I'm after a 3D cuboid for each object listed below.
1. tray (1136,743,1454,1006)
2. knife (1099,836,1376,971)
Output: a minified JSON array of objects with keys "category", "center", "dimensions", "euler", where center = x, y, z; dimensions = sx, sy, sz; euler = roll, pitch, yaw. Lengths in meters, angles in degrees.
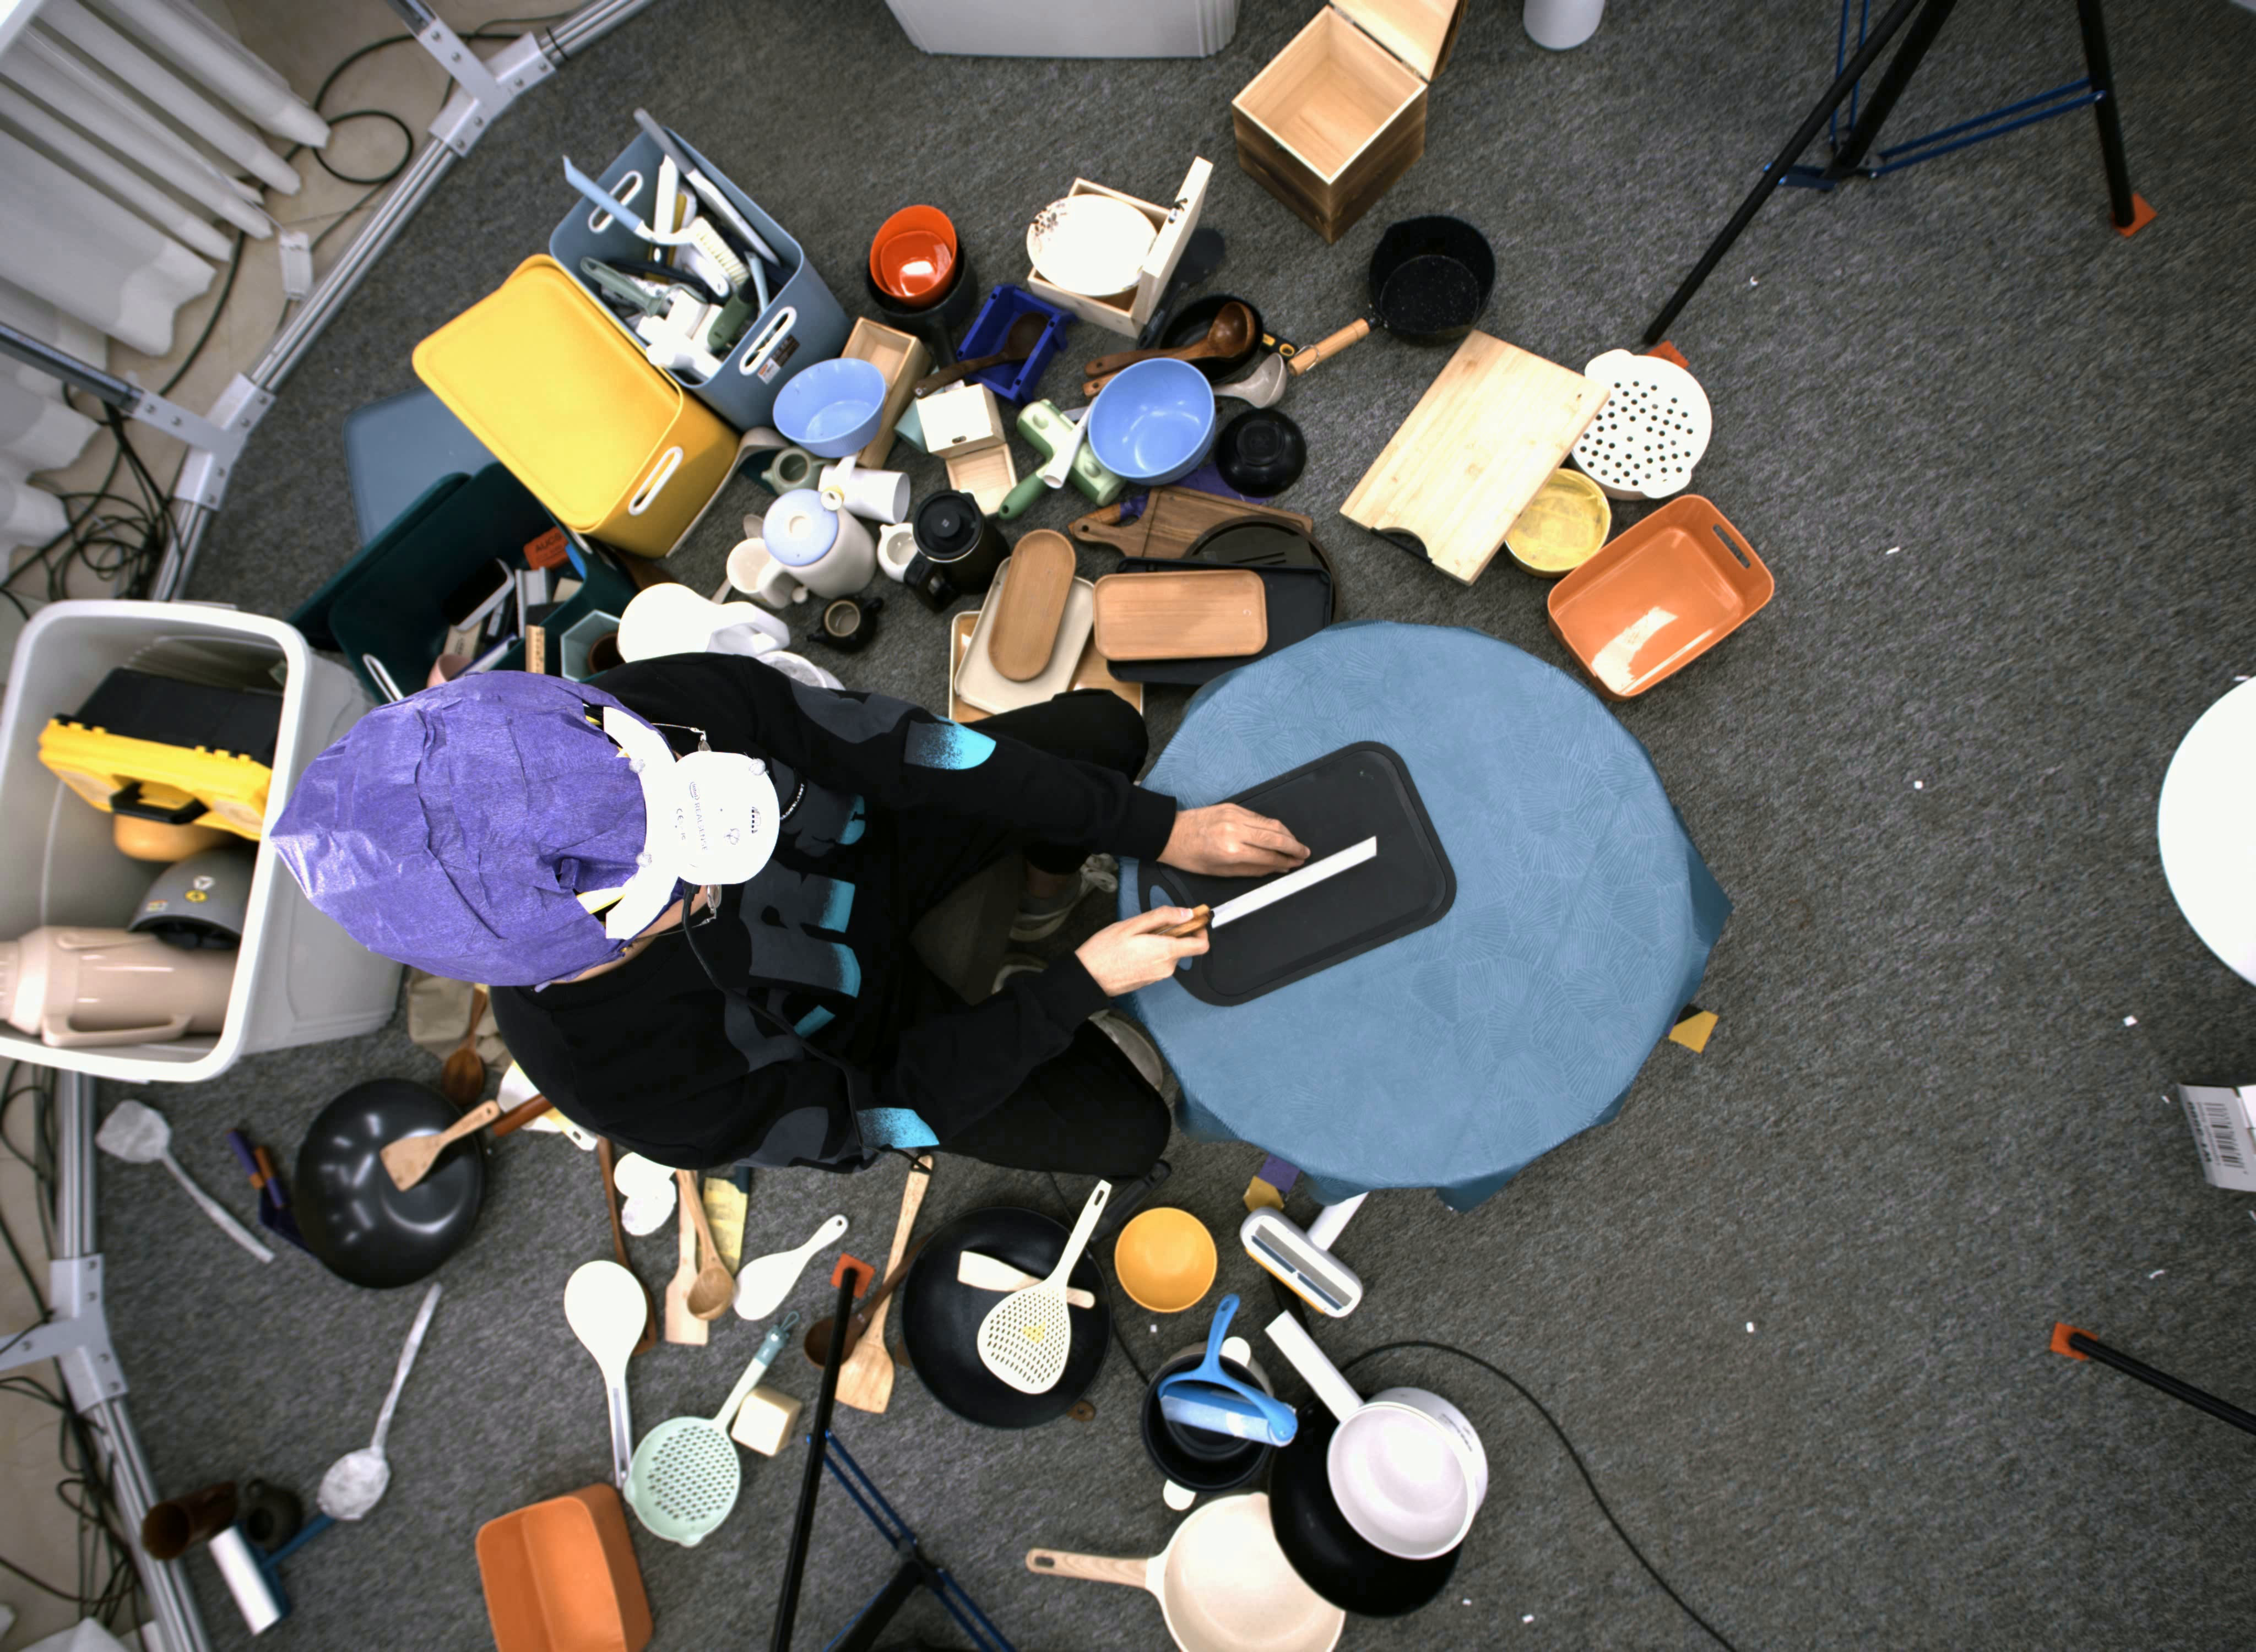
[{"category":"tray","center":[0.170,0.055,1.476],"dimensions":[0.327,0.010,0.210],"euler":[-23,83,8]},{"category":"knife","center":[0.116,0.082,1.431],"dimensions":[0.307,0.093,0.021],"euler":[-25,73,5]}]
